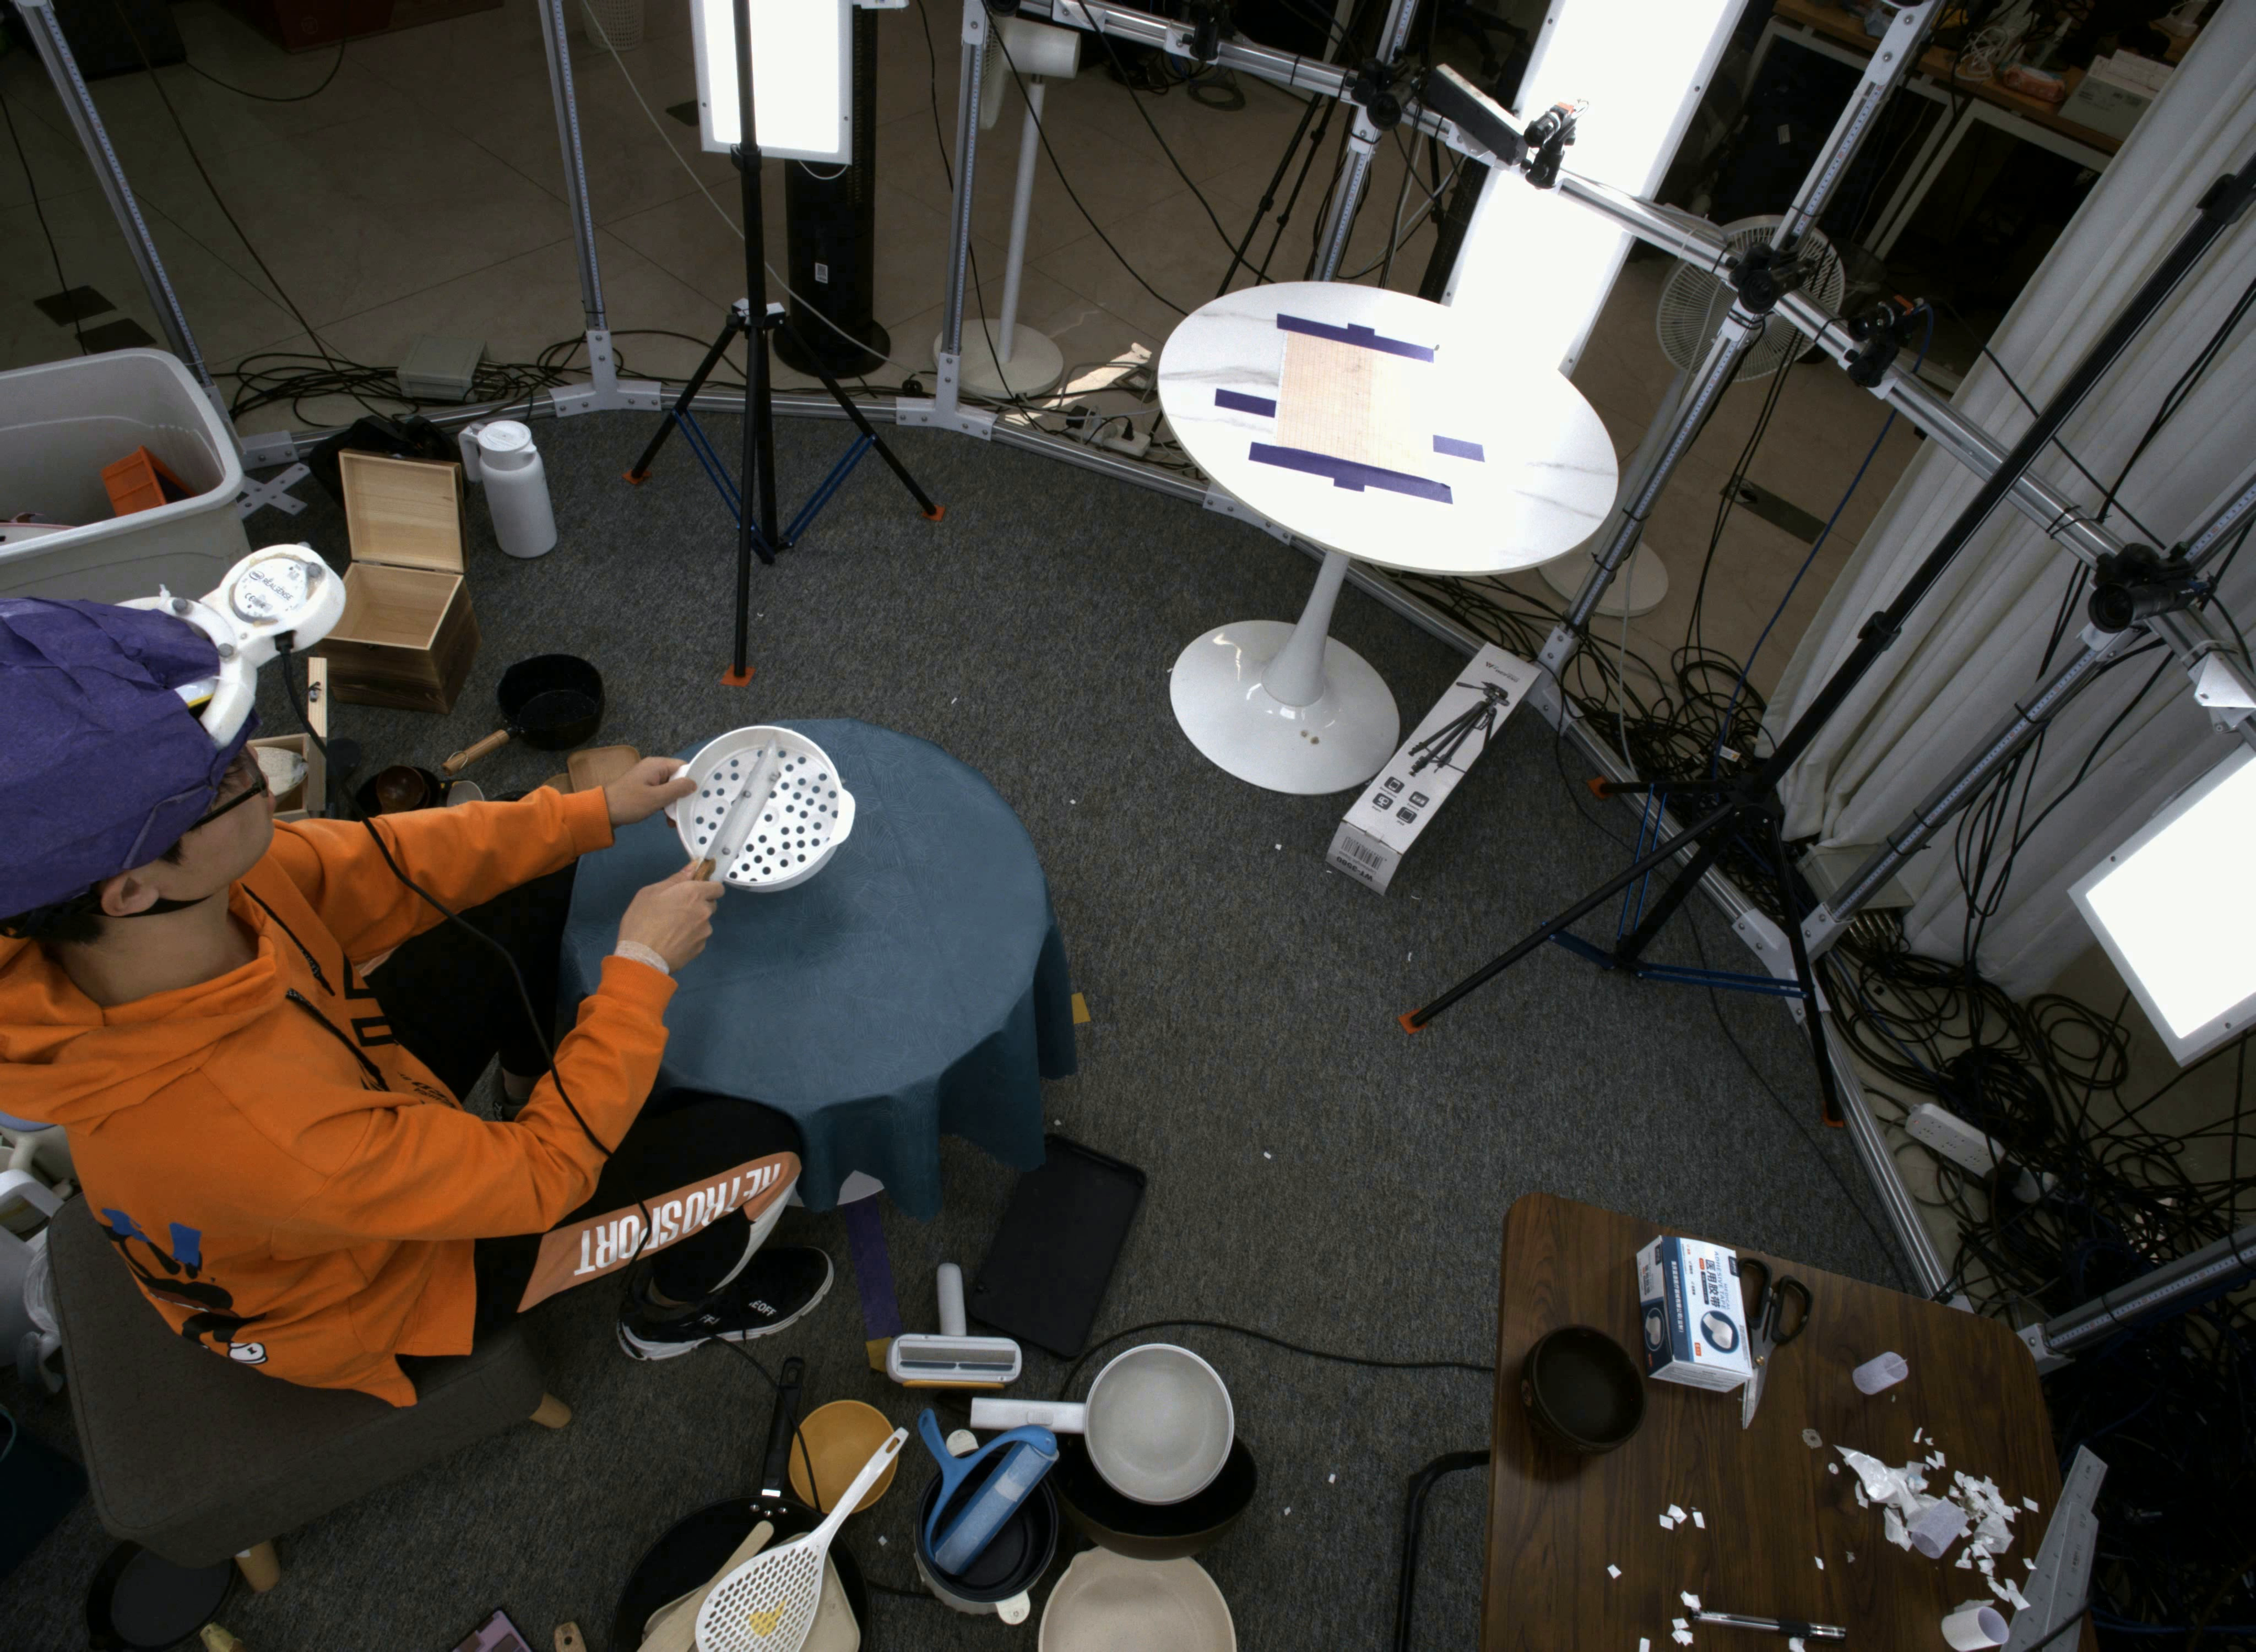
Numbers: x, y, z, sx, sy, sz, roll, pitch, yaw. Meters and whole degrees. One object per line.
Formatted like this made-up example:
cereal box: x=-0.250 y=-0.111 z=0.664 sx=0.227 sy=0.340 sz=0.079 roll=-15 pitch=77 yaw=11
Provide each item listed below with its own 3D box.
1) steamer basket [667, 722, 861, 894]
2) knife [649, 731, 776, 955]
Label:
steamer basket: x=-0.439 y=-0.021 z=1.574 sx=0.230 sy=0.069 sz=0.201 roll=8 pitch=73 yaw=-8
knife: x=-0.466 y=0.027 z=1.472 sx=0.021 sy=0.095 sz=0.302 roll=16 pitch=54 yaw=2
